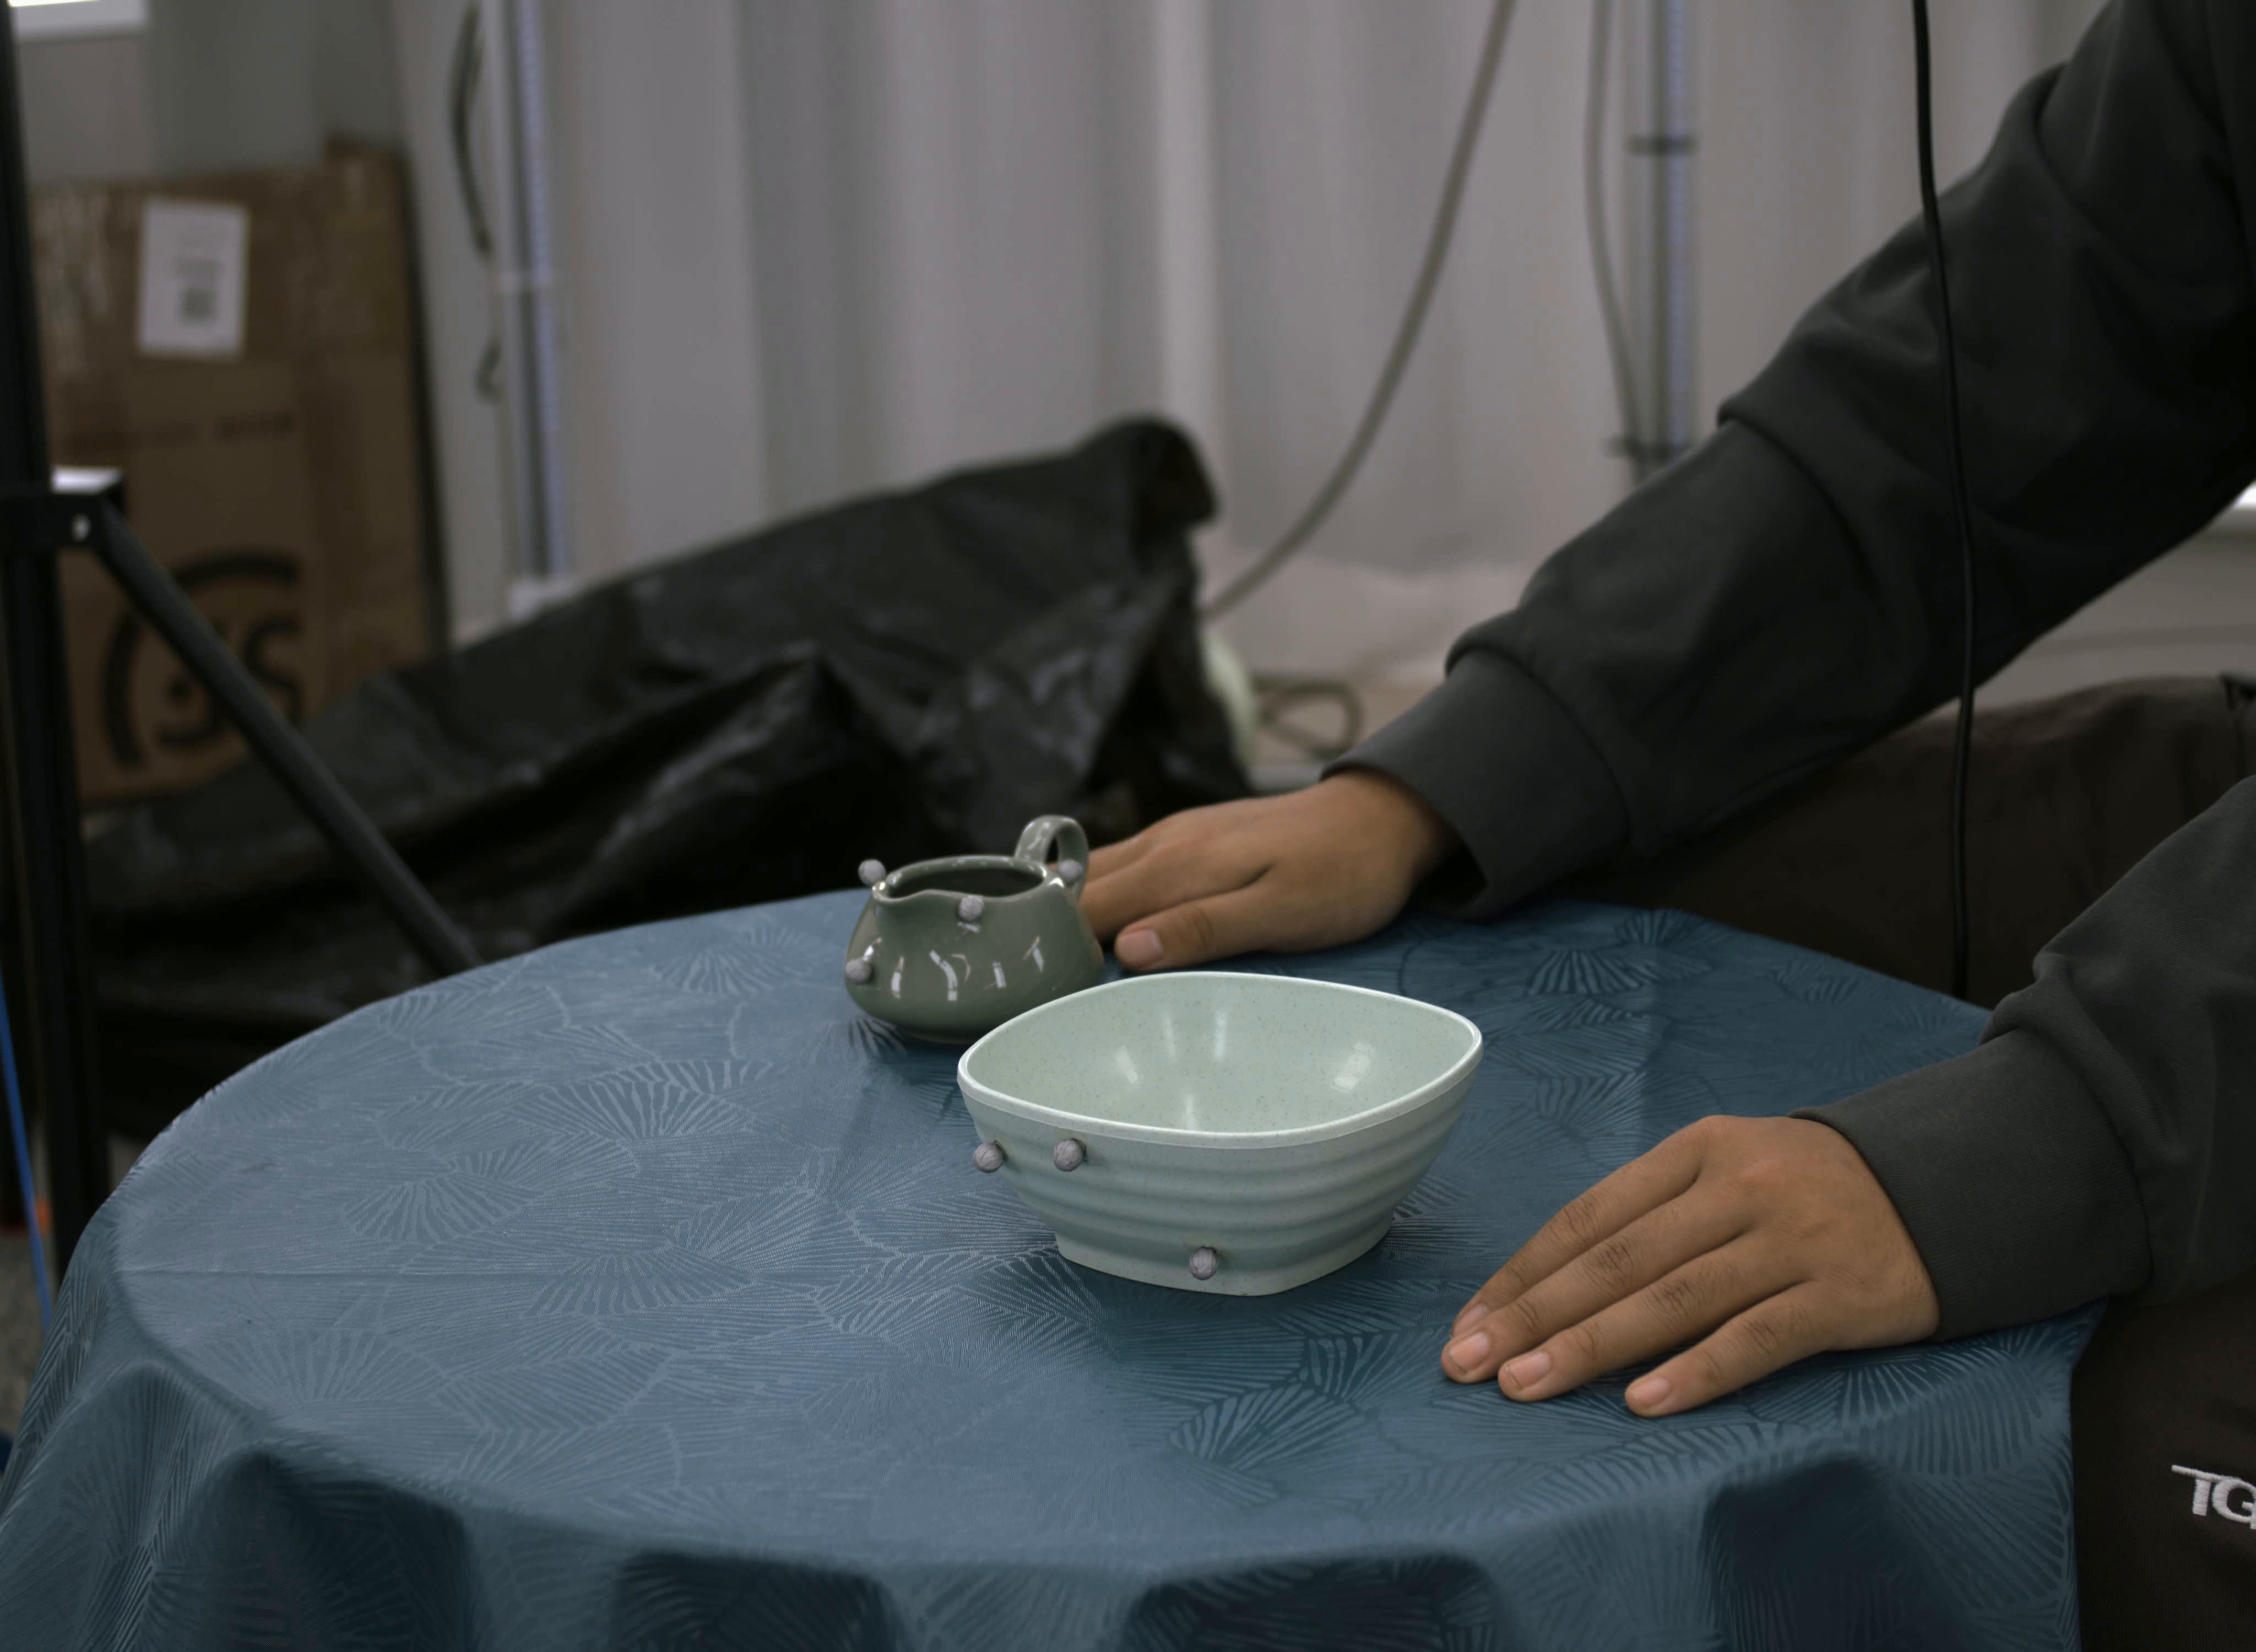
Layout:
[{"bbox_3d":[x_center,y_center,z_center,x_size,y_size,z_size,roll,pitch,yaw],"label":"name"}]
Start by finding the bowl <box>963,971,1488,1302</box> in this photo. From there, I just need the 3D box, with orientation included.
[{"bbox_3d":[0.029,0.092,1.510,0.151,0.058,0.152,-4,16,0],"label":"bowl"}]

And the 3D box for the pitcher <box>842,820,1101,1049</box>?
[{"bbox_3d":[-0.047,0.036,1.721,0.086,0.056,0.110,8,18,30],"label":"pitcher"}]
